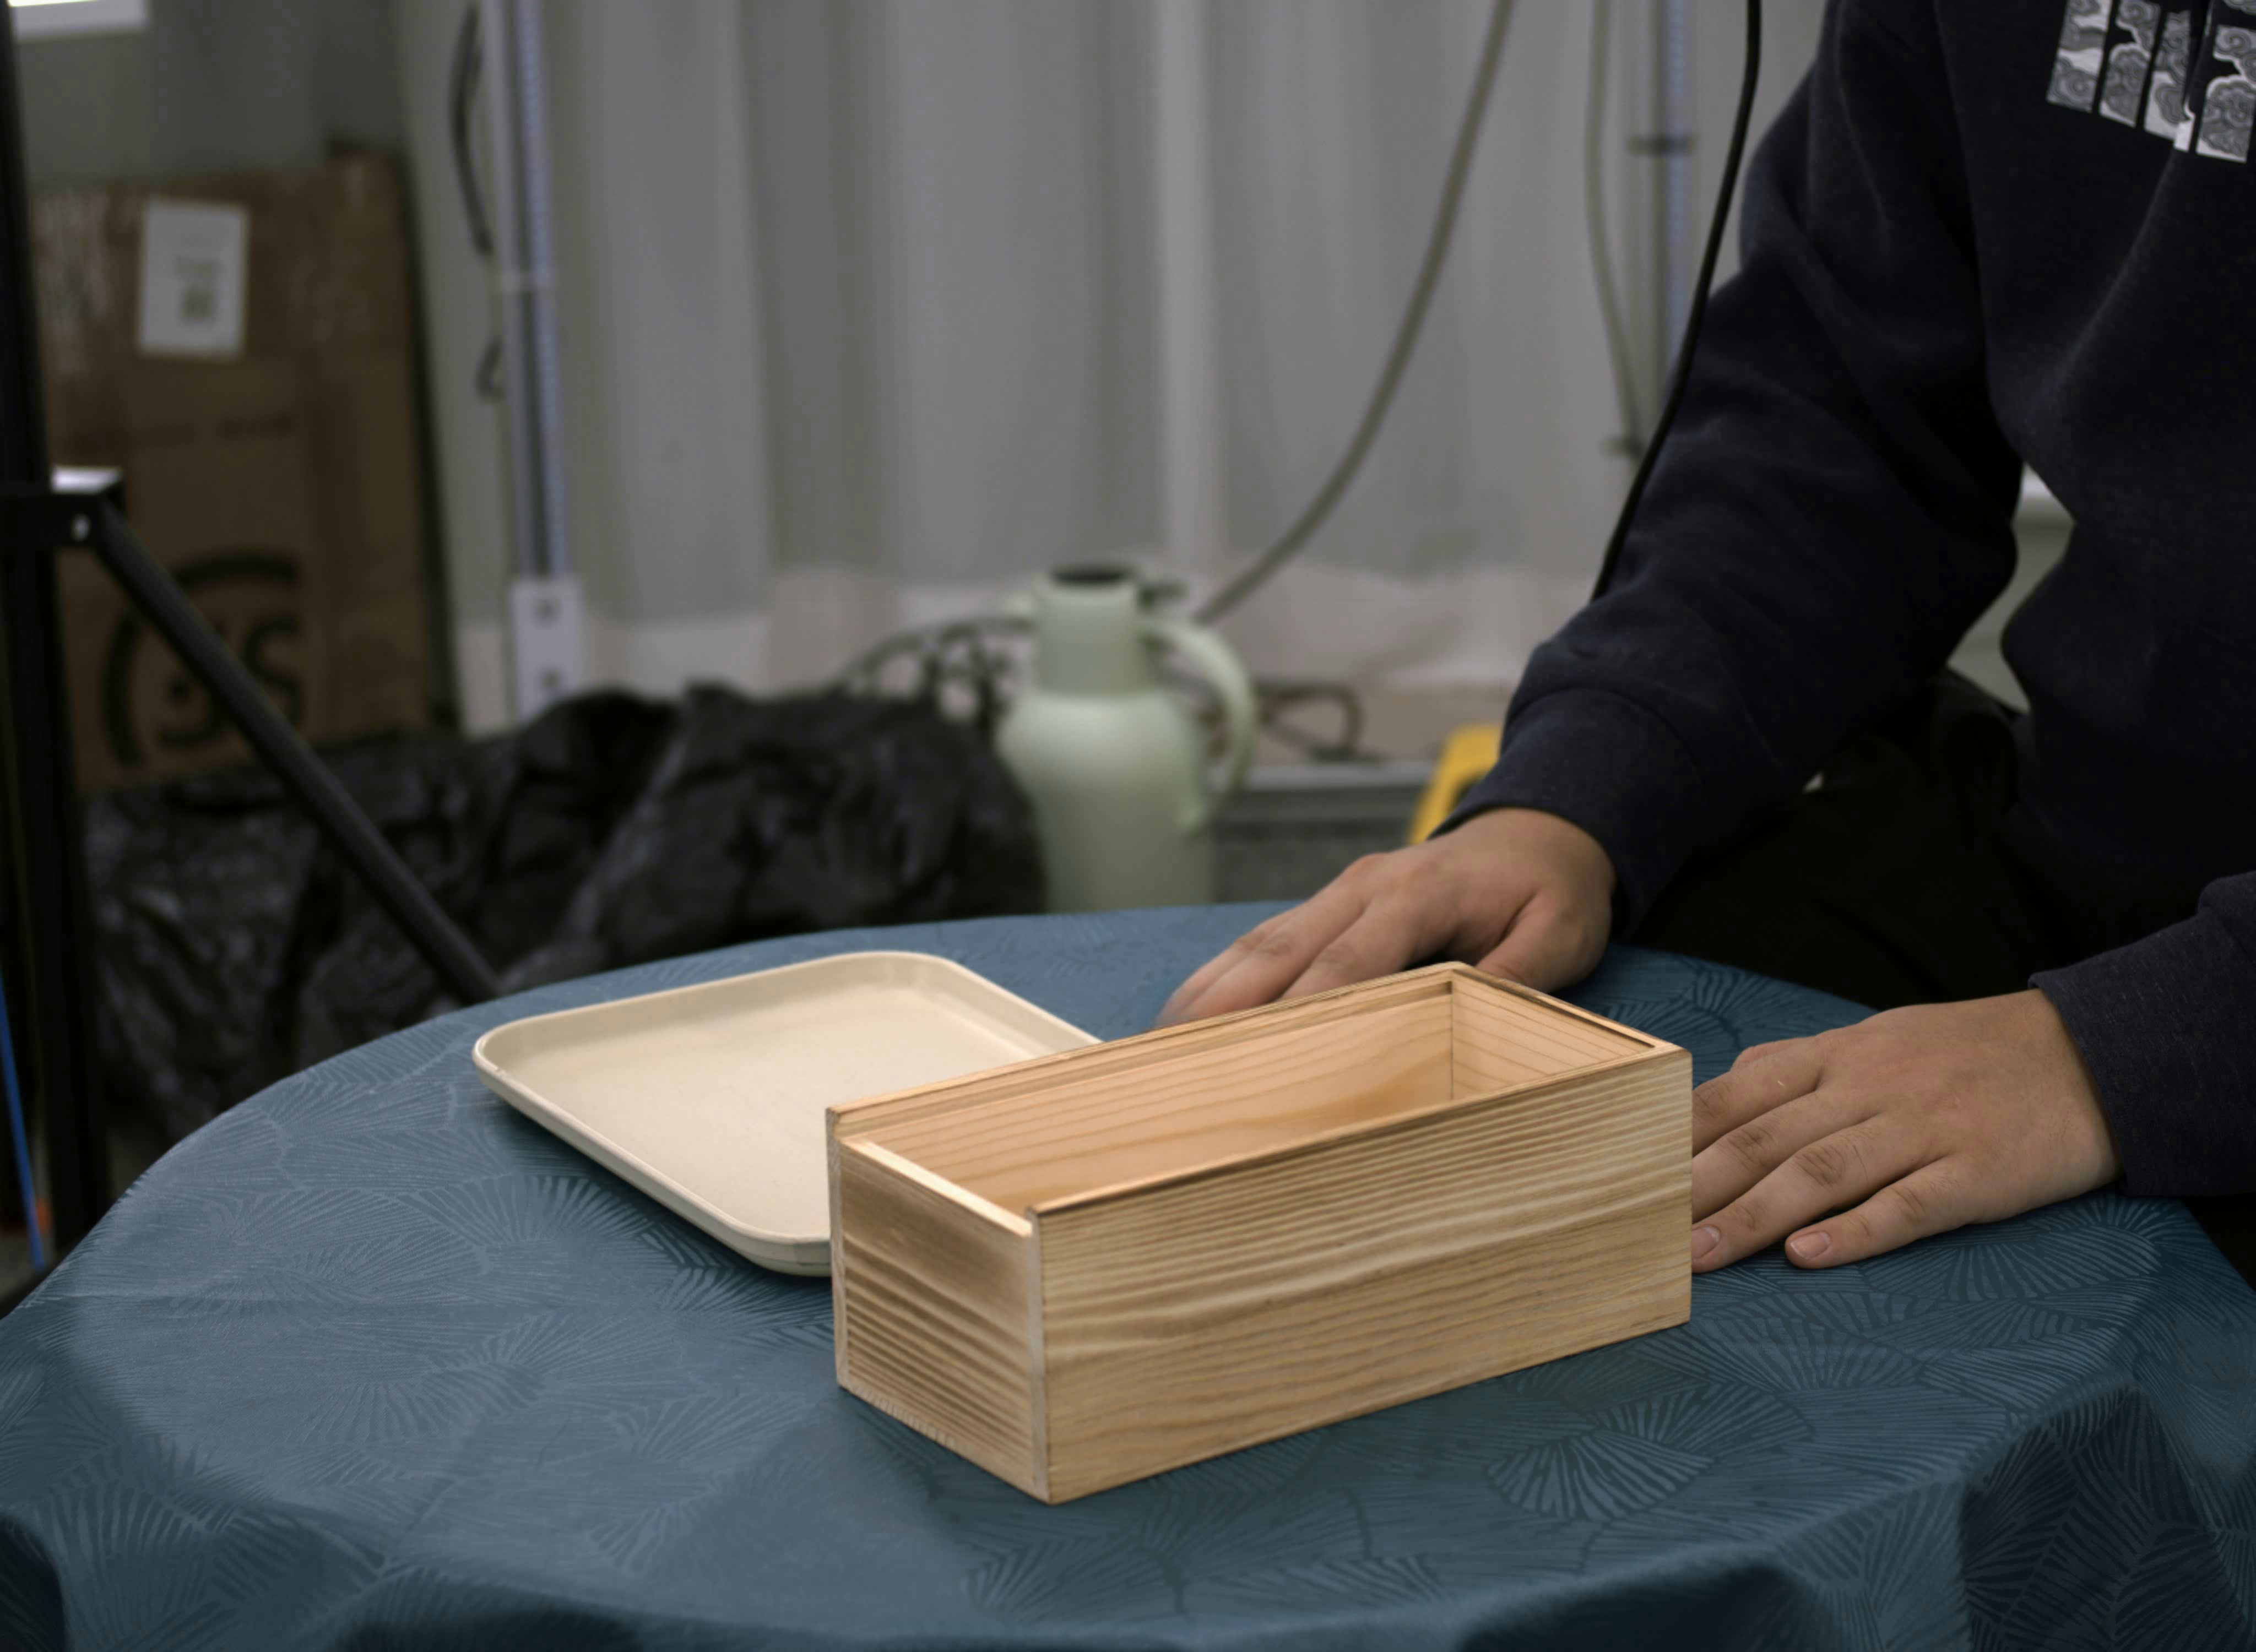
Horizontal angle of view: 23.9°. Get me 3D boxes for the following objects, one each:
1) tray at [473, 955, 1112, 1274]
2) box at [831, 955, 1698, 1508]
[{"bbox_3d":[-0.082,0.086,1.614,0.167,0.017,0.245,-10,18,-28],"label":"tray"},{"bbox_3d":[0.038,0.104,1.418,0.206,0.080,0.110,-12,19,-31],"label":"box"}]
